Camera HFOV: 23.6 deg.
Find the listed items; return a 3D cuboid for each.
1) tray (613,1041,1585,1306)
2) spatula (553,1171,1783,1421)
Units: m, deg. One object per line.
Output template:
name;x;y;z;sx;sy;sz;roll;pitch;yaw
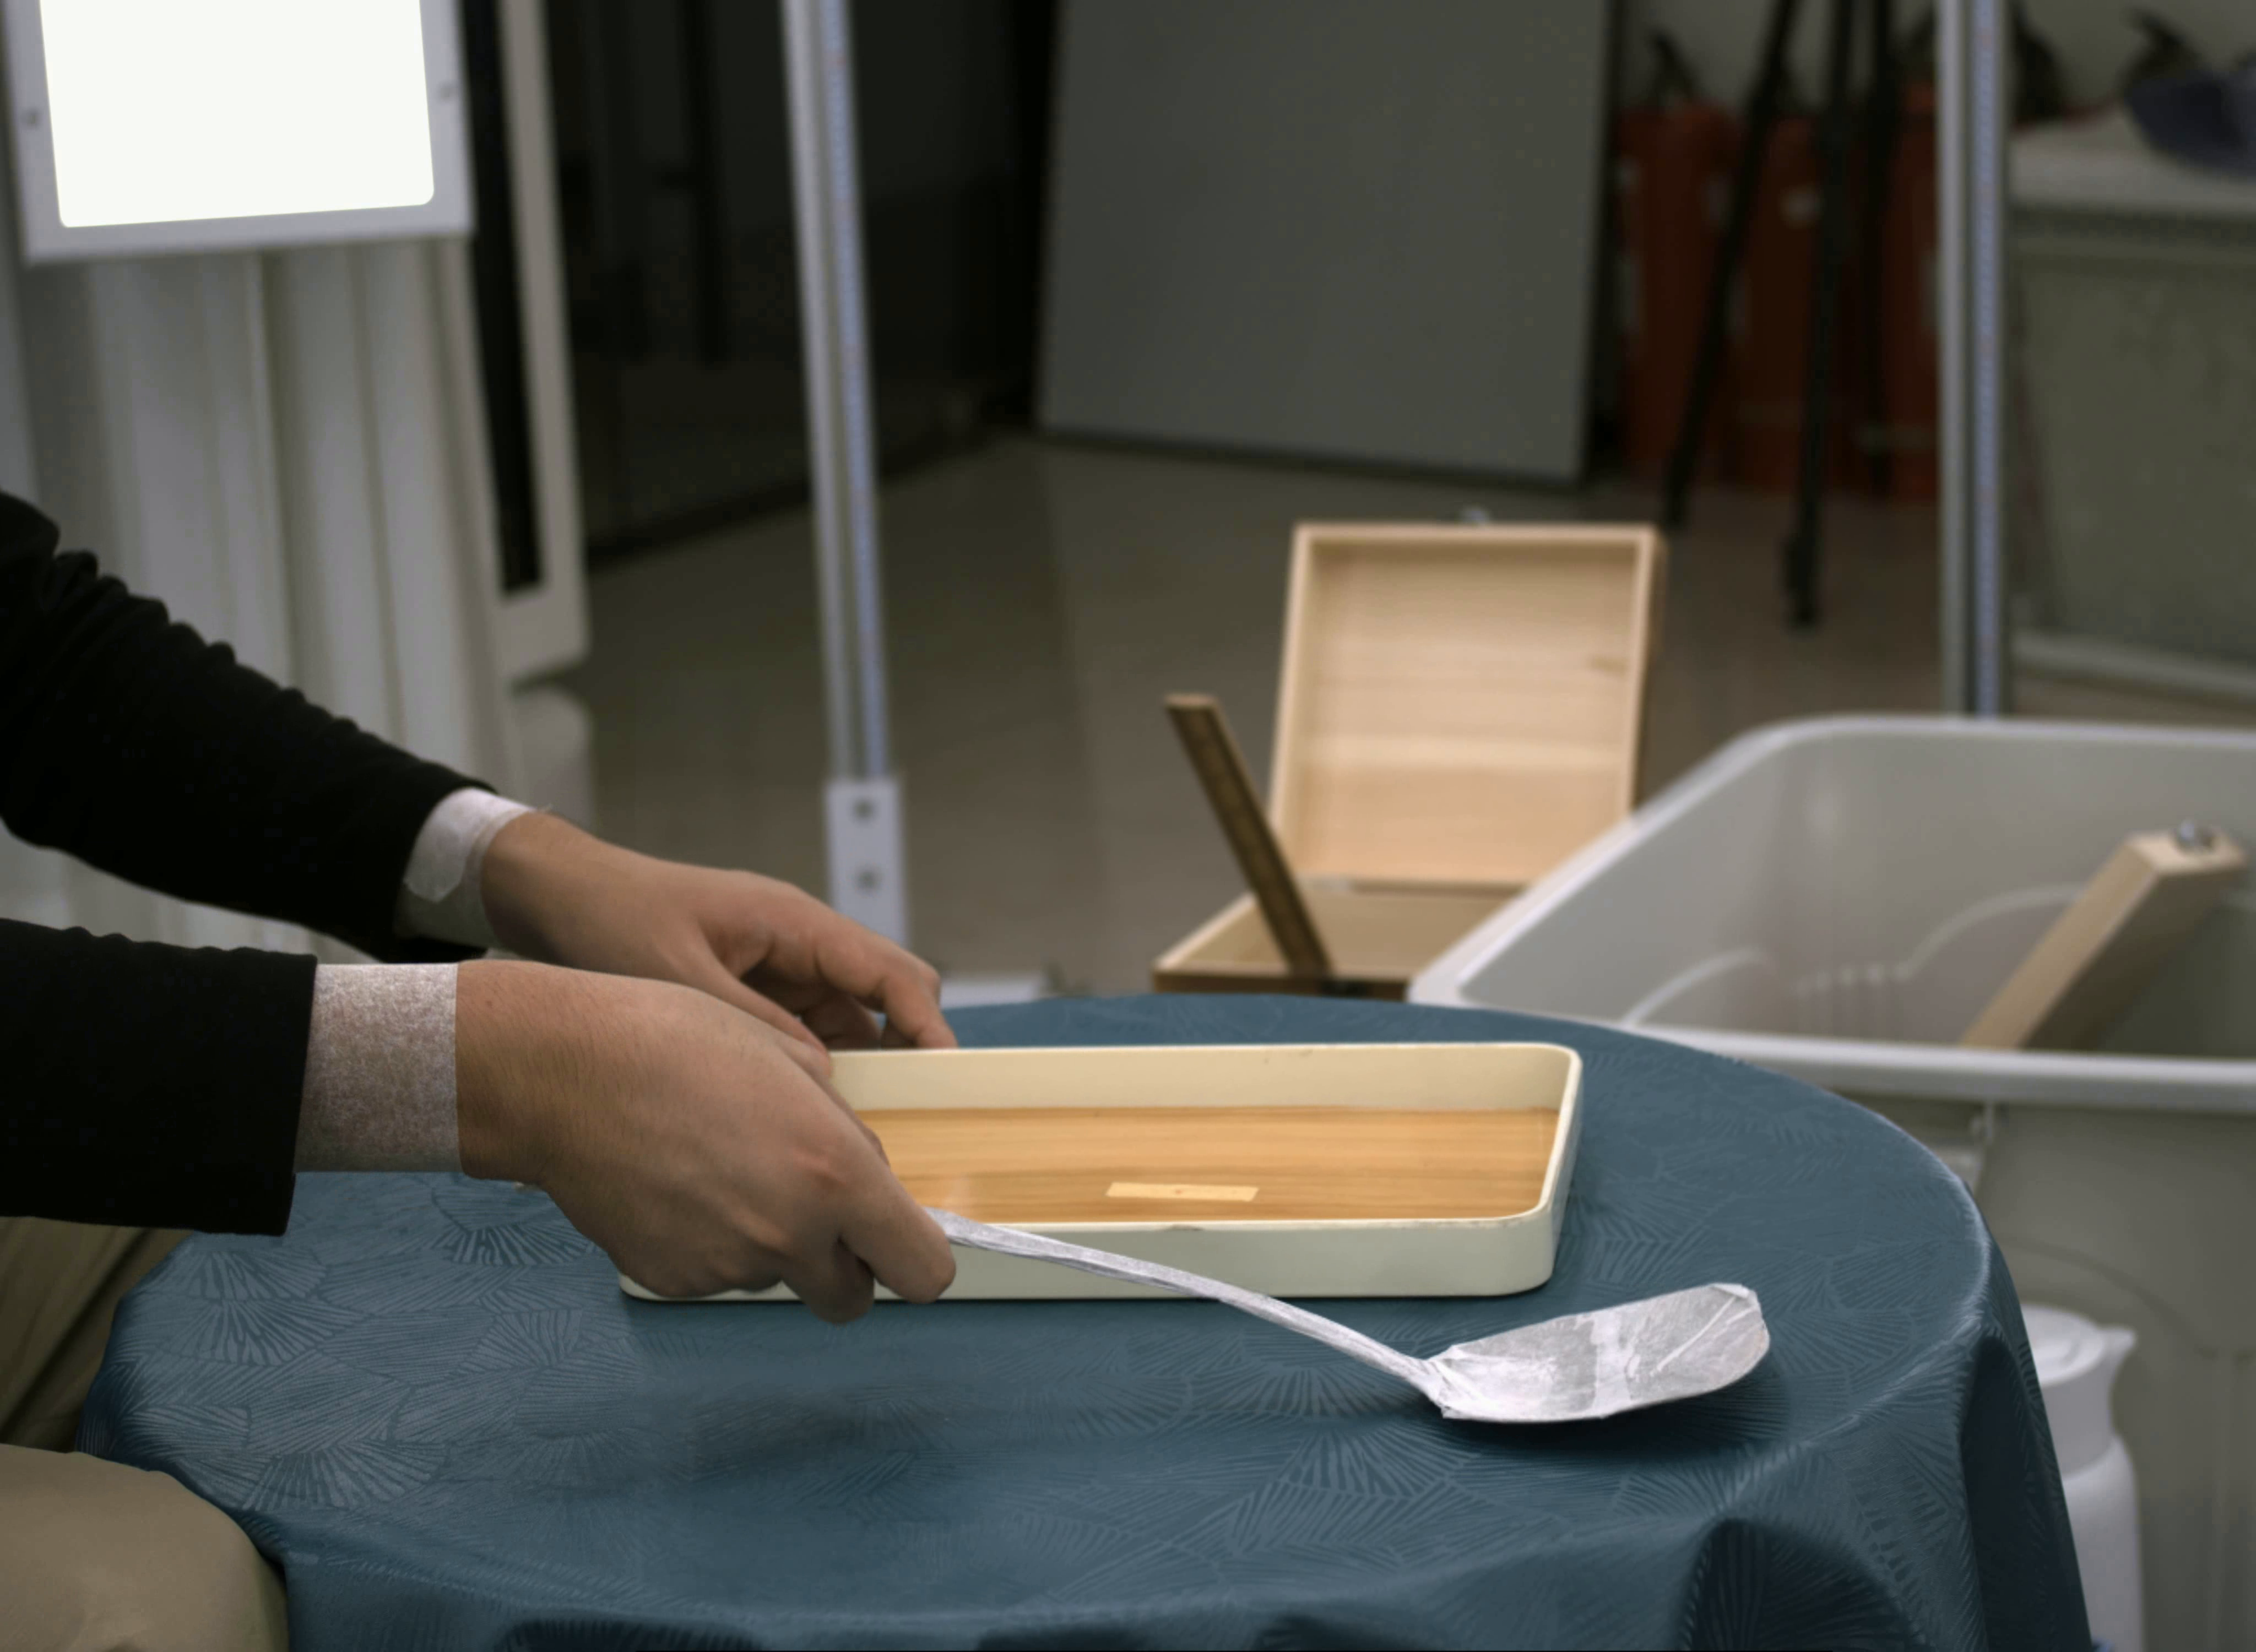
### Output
tray;-0.004;0.112;1.752;0.298;0.028;0.191;-2;14;11
spatula;0.008;0.126;1.563;0.361;0.045;0.098;12;16;6
